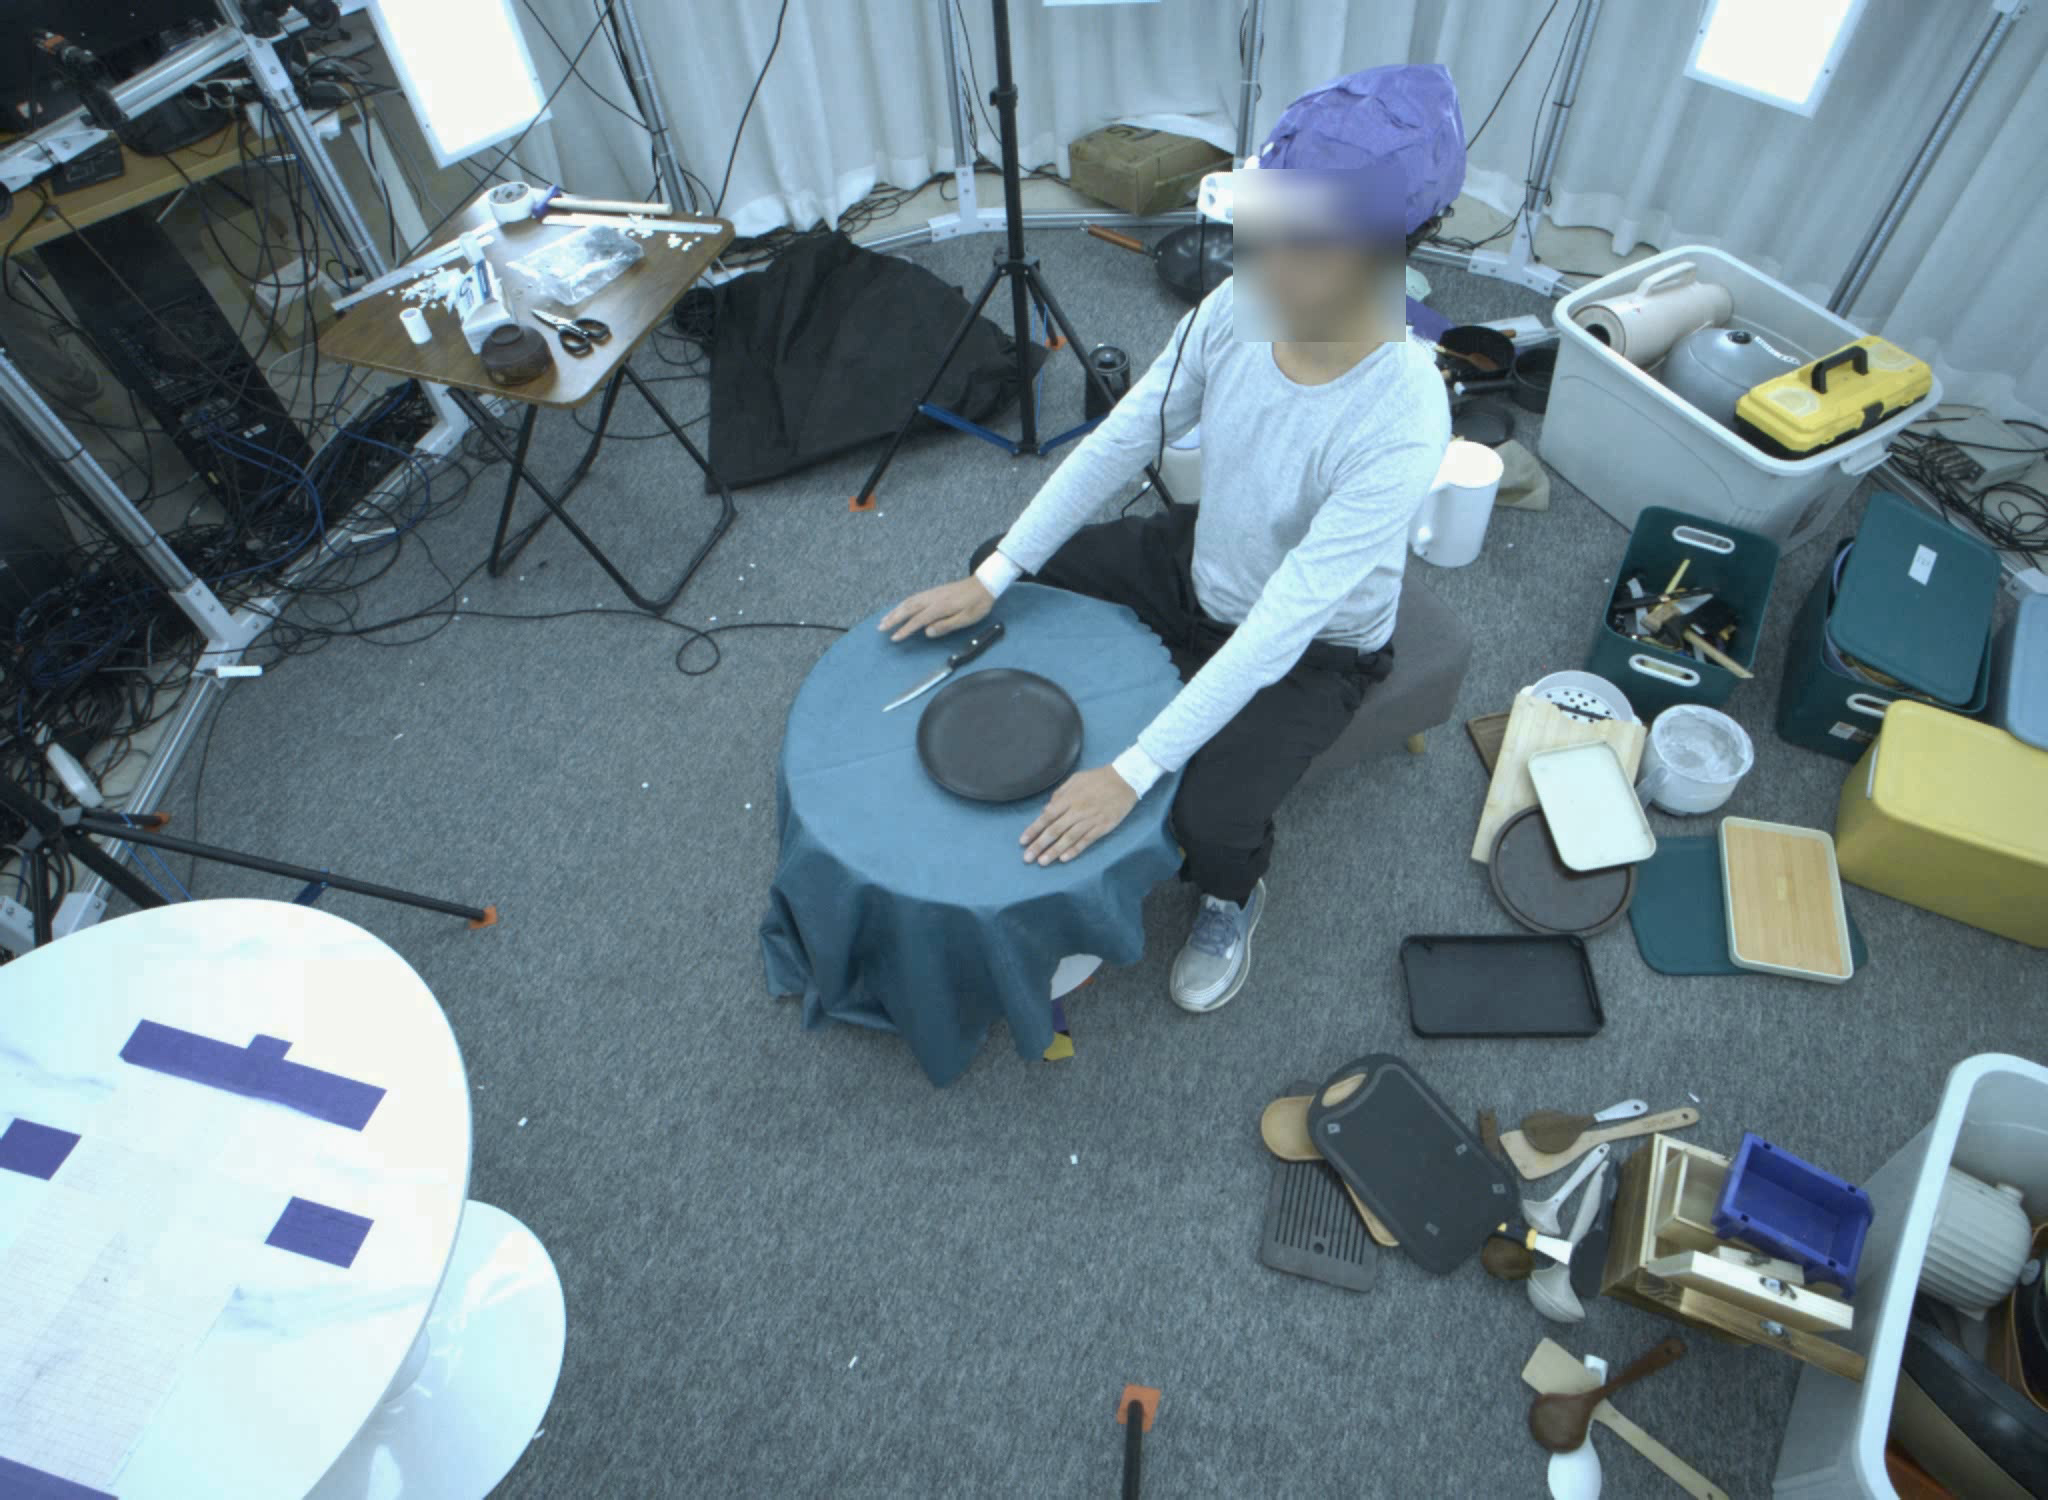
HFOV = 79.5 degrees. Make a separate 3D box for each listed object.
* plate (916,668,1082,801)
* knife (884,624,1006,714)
[{"bbox_3d":[-0.036,-0.022,1.798,0.244,0.023,0.242,0,54,1],"label":"plate"},{"bbox_3d":[-0.123,-0.125,1.881,0.240,0.016,0.024,-38,58,-20],"label":"knife"}]
